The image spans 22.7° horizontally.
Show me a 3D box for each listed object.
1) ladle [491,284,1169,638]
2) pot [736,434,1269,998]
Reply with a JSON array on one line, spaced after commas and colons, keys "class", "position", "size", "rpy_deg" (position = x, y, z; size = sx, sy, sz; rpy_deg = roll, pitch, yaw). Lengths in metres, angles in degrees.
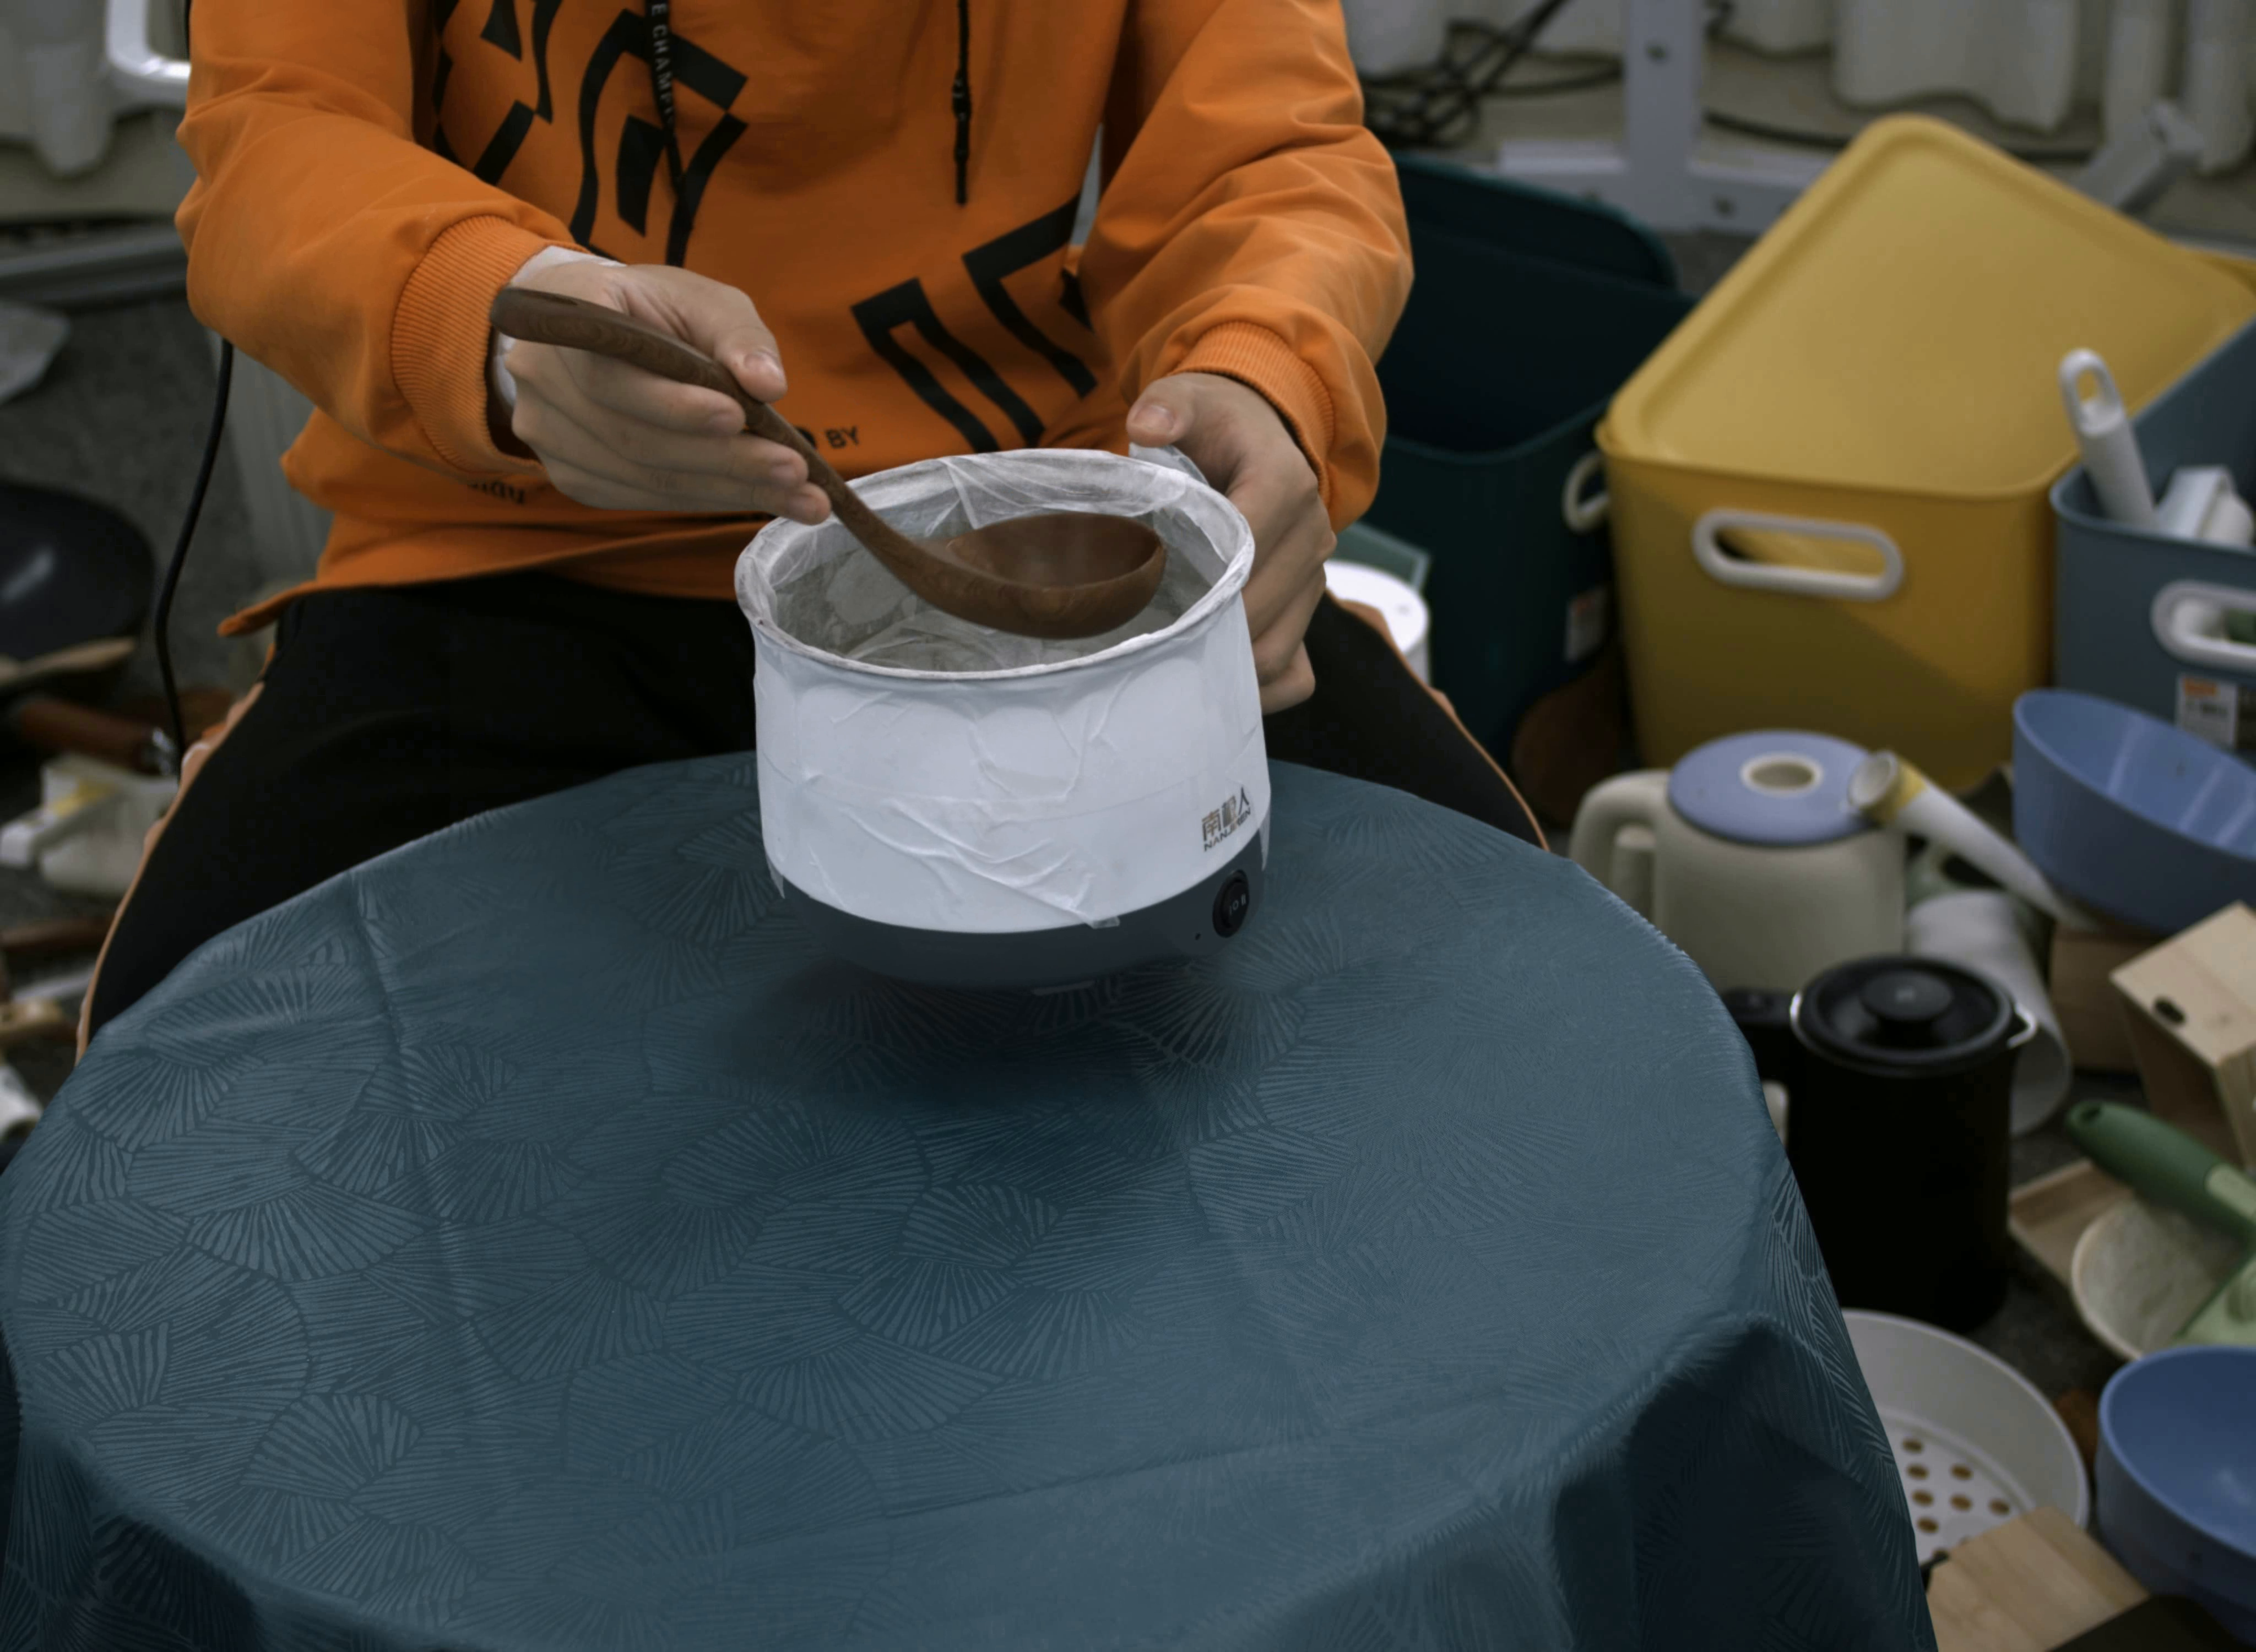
[{"class": "ladle", "position": [-0.094, -0.131, 1.858], "size": [0.259, 0.065, 0.076], "rpy_deg": [32, -3, -32]}, {"class": "pot", "position": [-0.027, -0.046, 1.951], "size": [0.178, 0.135, 0.237], "rpy_deg": [12, 31, 28]}]
